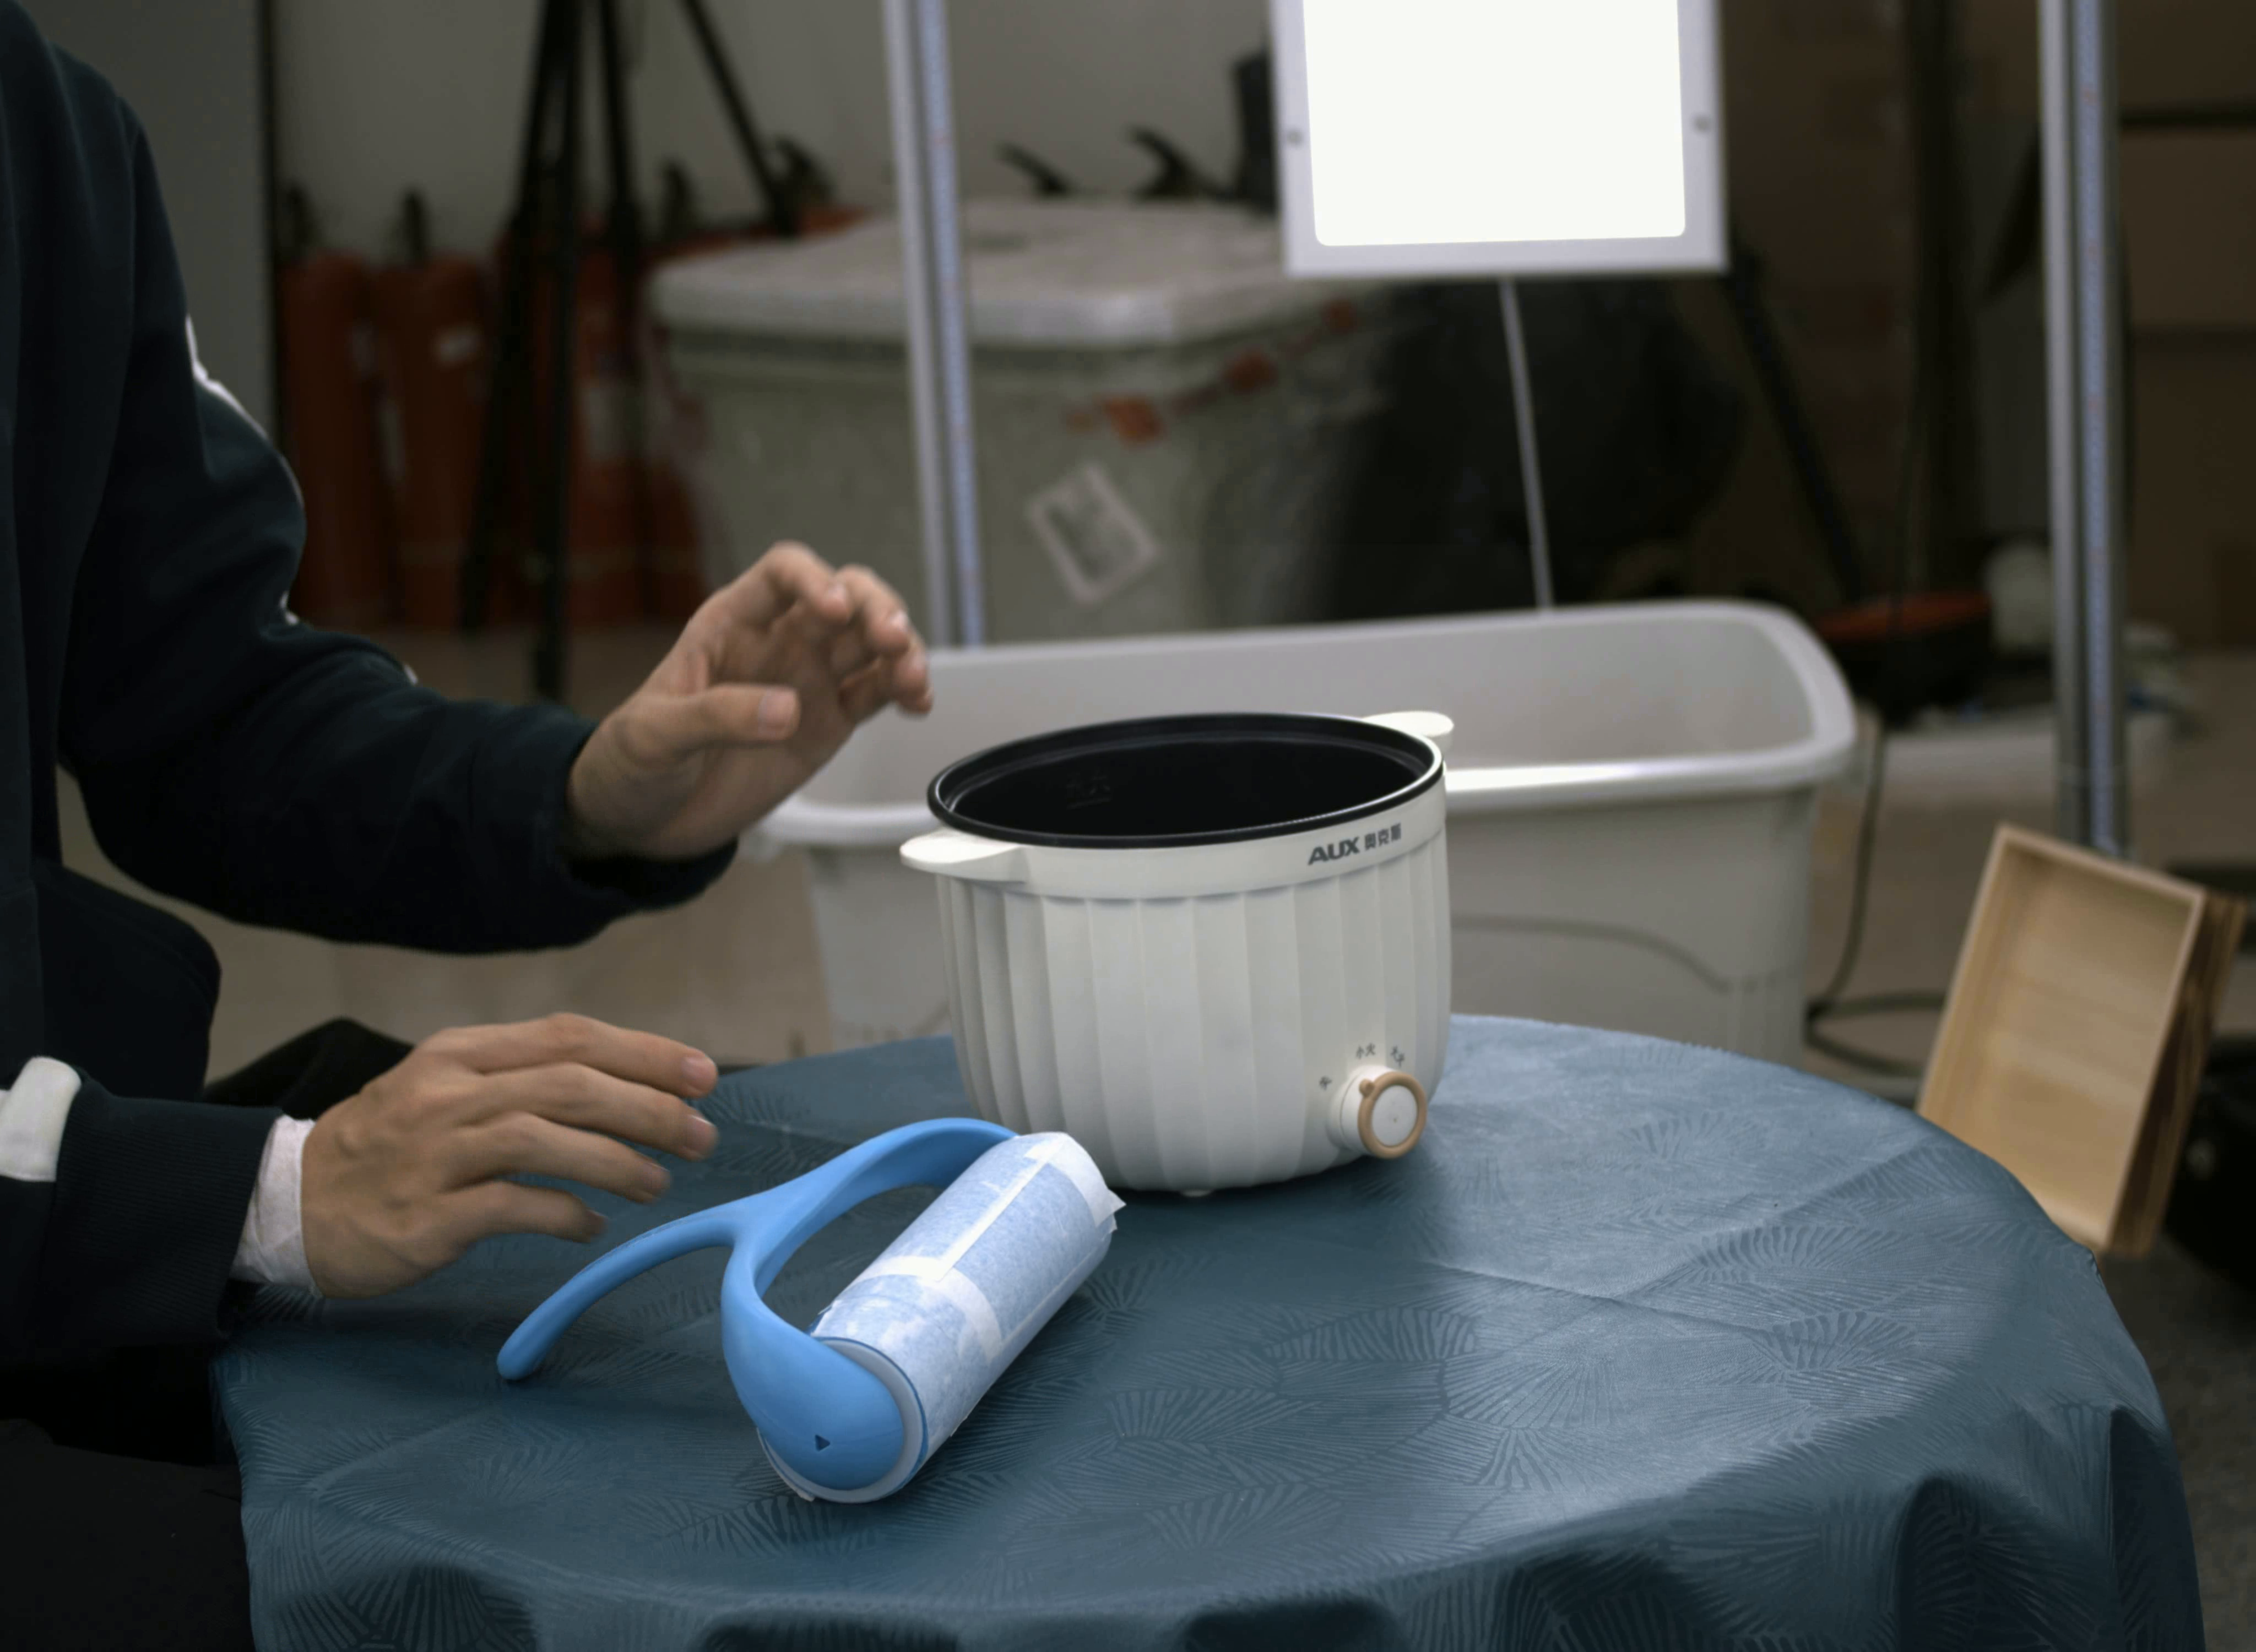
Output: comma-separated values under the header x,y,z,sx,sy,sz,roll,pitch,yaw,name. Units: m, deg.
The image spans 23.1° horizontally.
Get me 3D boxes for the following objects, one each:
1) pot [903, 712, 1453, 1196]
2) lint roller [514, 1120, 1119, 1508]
x,y,z,sx,sy,sz,roll,pitch,yaw,name
0.030,0.046,1.921,0.234,0.143,0.194,-17,15,-36,pot
-0.110,0.151,1.722,0.182,0.068,0.226,-1,16,14,lint roller
